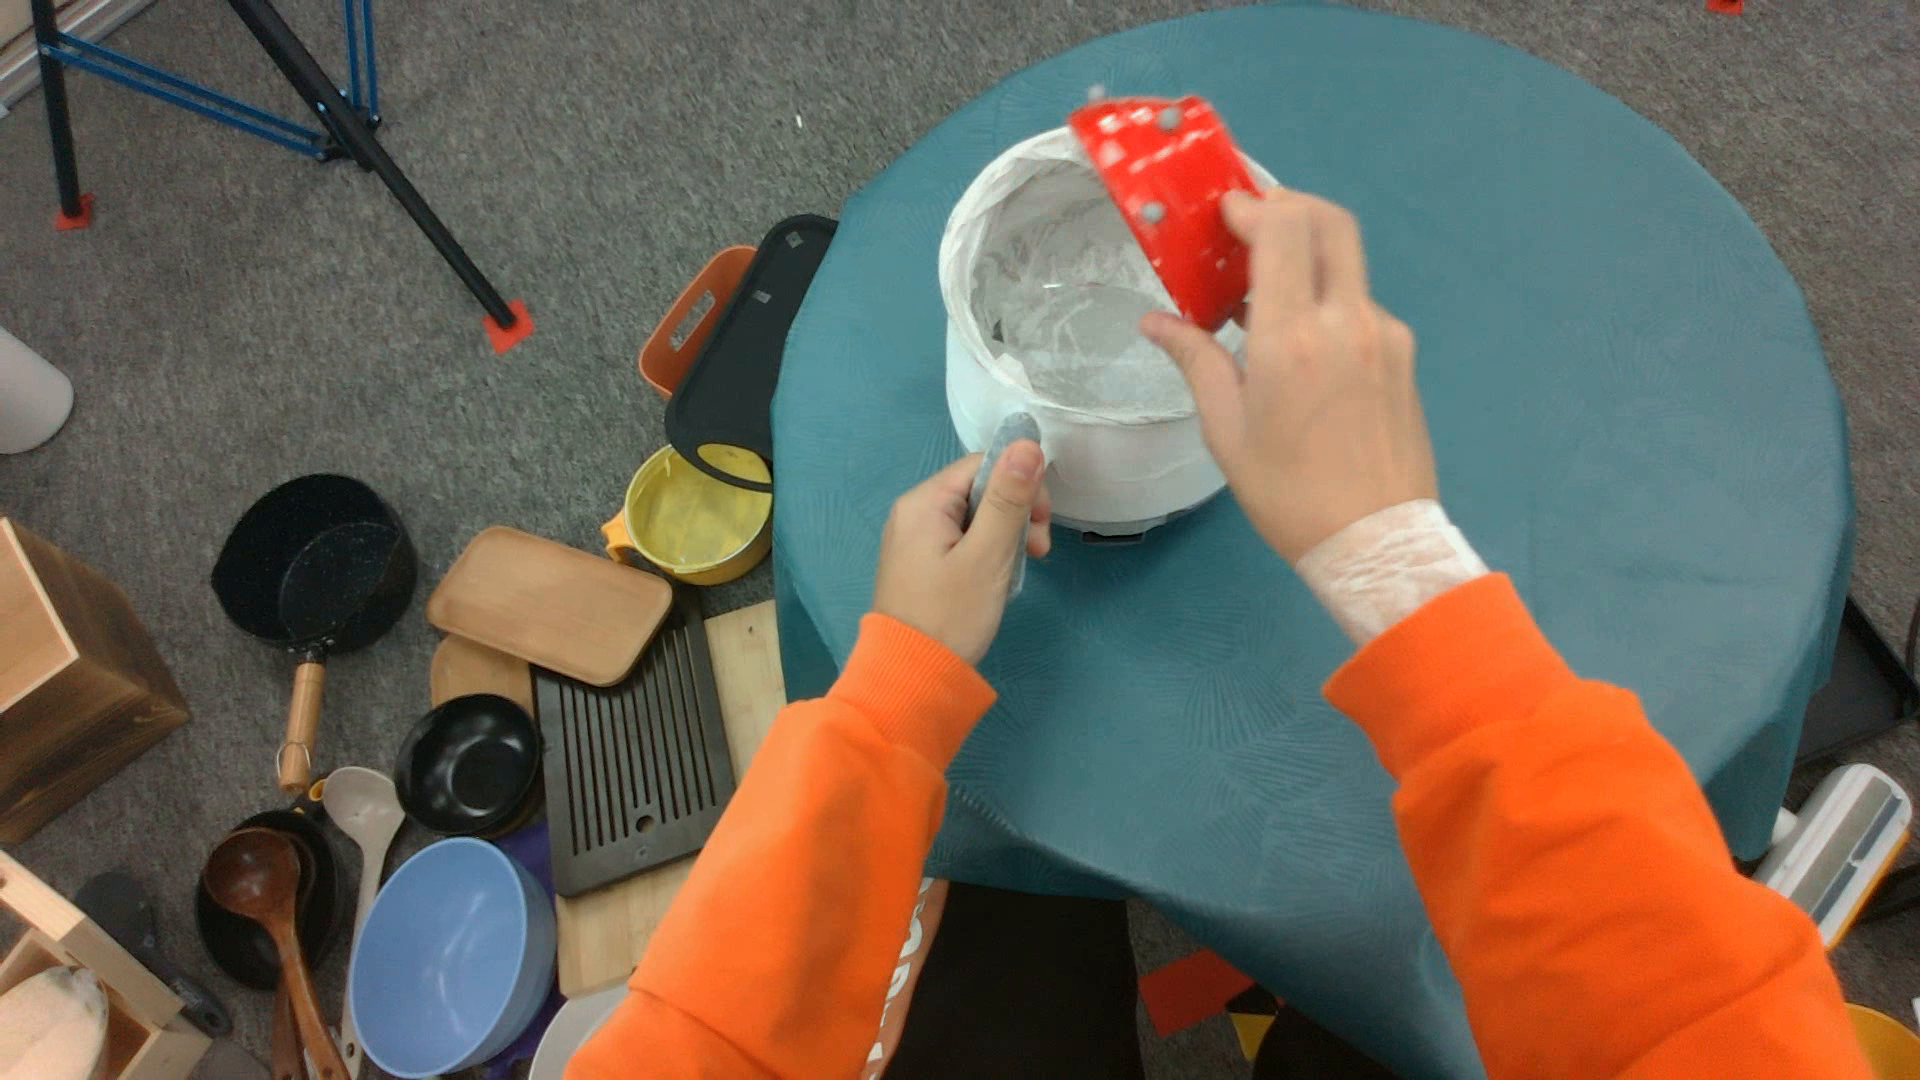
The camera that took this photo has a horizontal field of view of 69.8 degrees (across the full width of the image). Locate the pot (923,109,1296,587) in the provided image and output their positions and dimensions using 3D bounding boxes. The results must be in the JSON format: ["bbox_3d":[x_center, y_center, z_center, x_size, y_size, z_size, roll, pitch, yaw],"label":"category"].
[{"bbox_3d":[0.059,-0.090,0.698,0.178,0.136,0.234,24,67,13],"label":"pot"}]

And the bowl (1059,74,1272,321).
[{"bbox_3d":[0.091,-0.153,0.583,0.051,0.119,0.119,-30,63,9],"label":"bowl"}]
